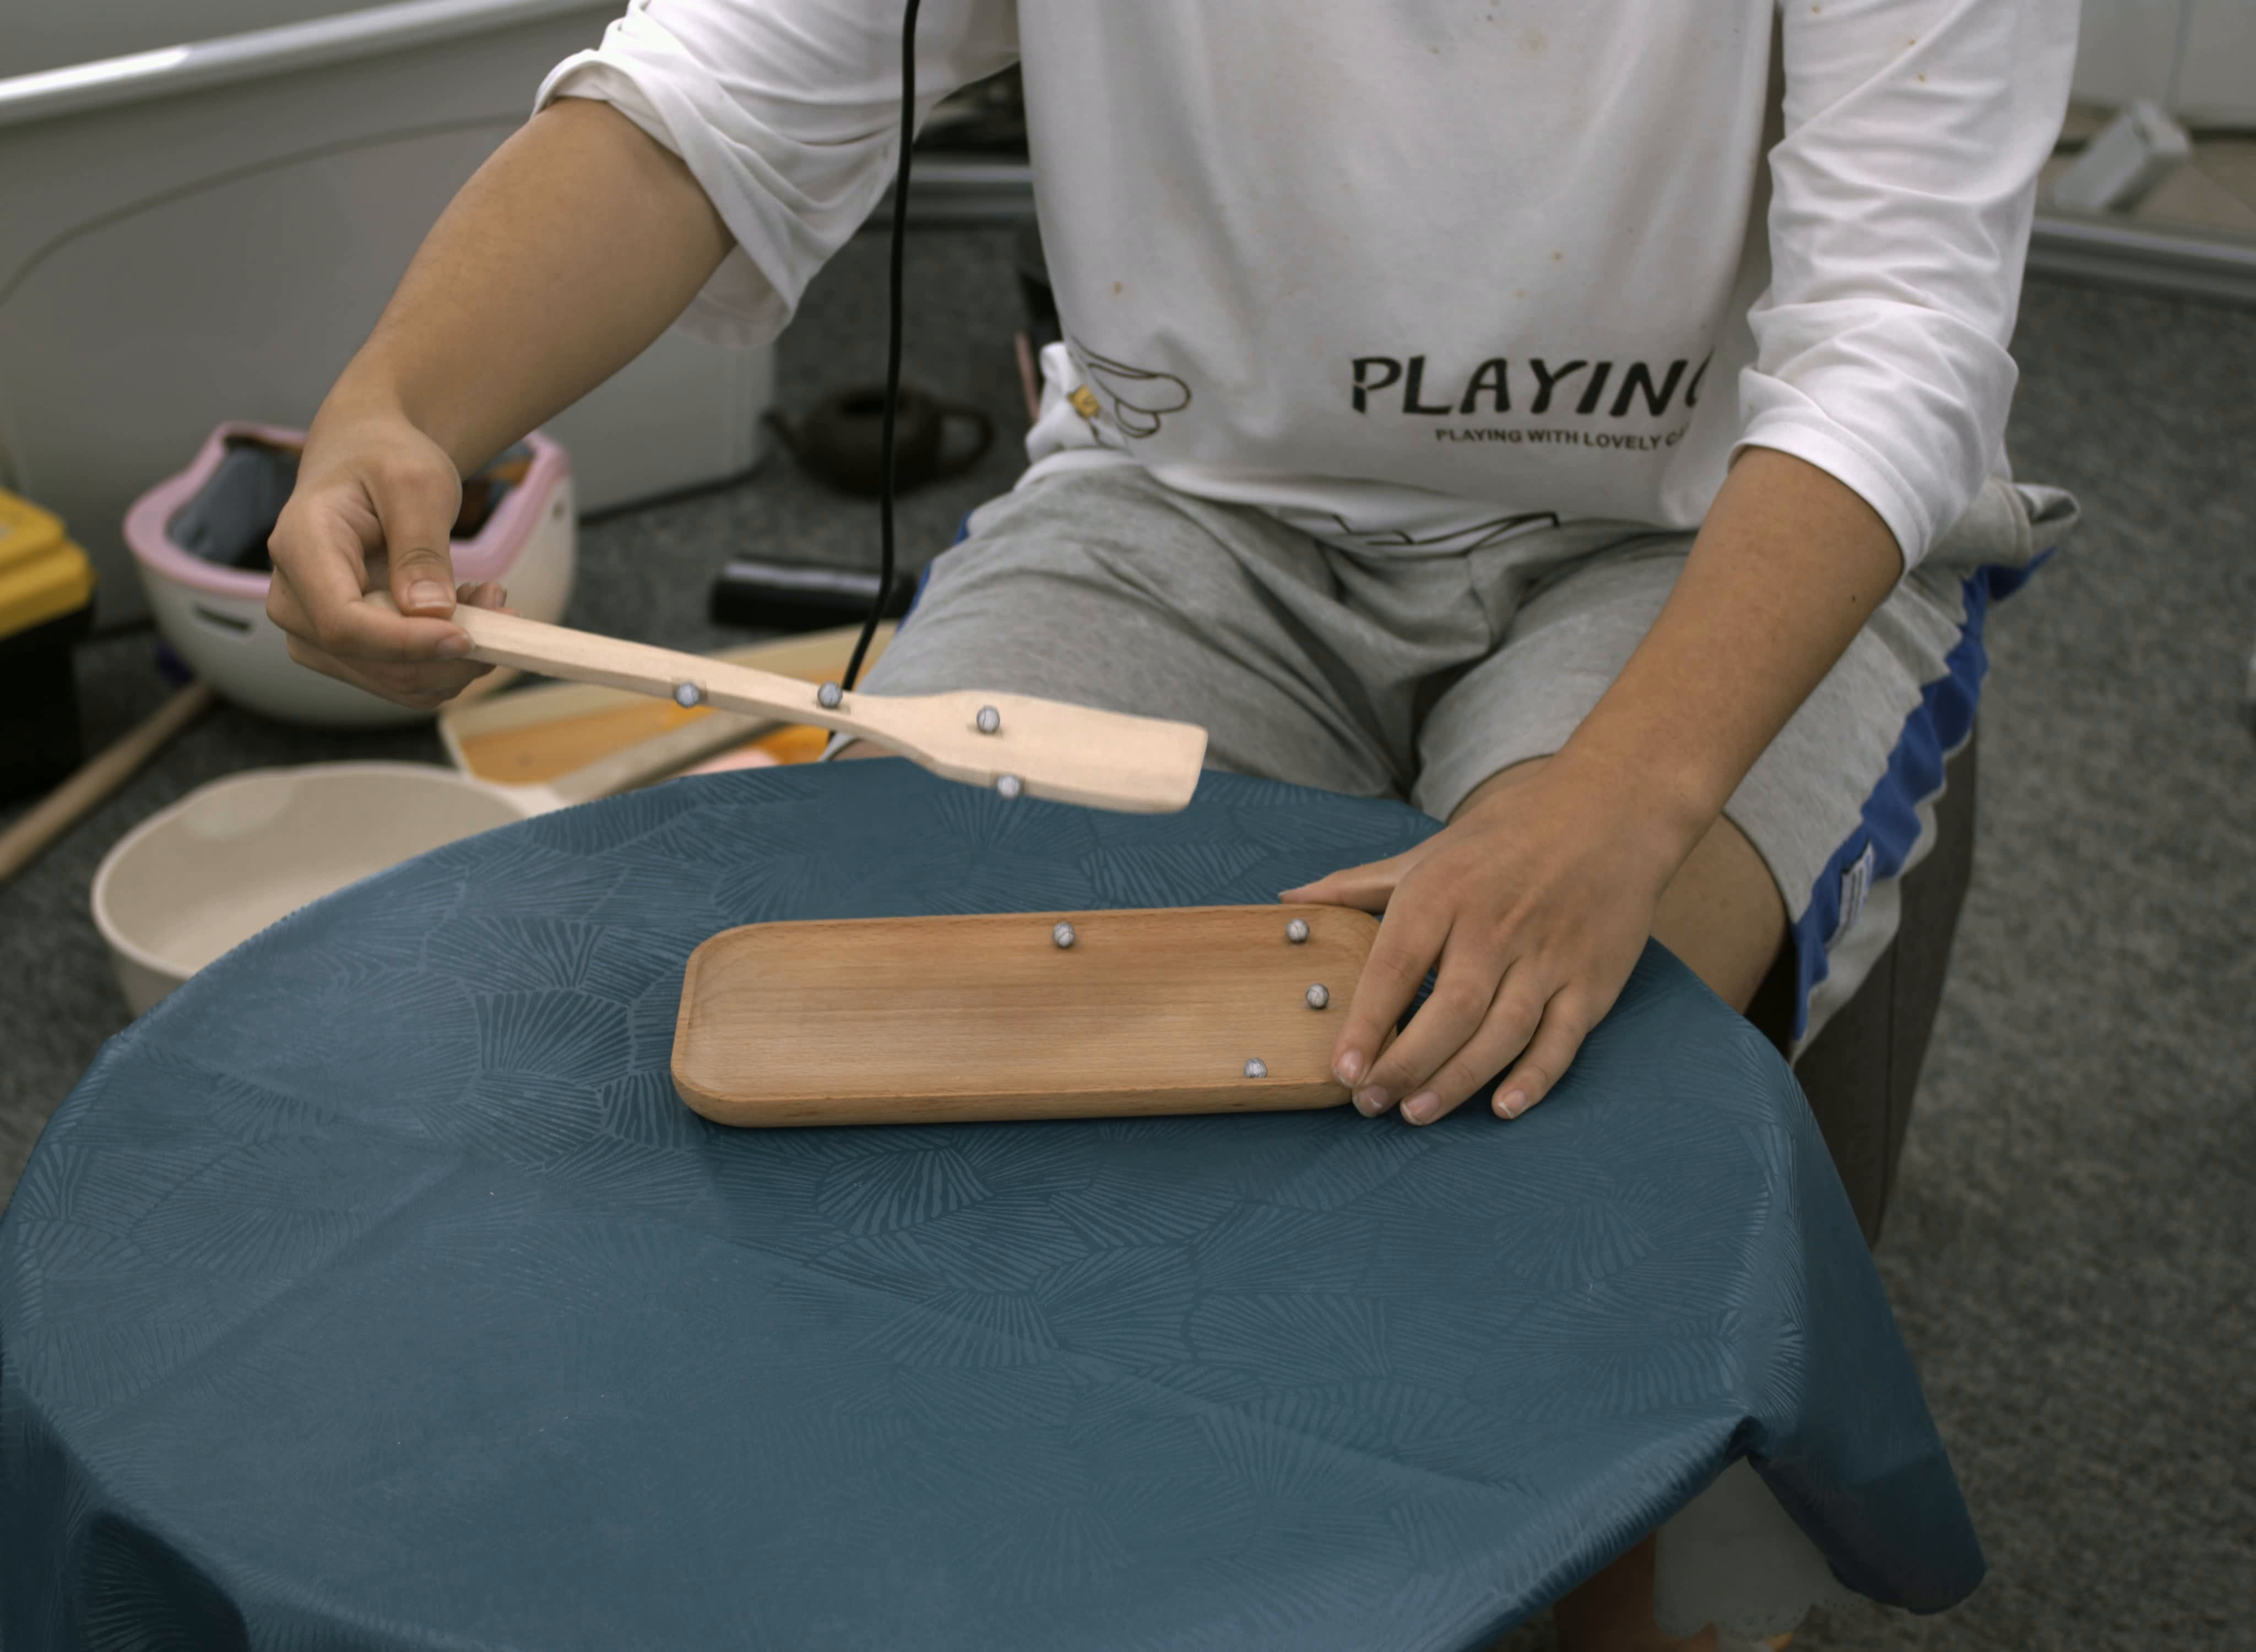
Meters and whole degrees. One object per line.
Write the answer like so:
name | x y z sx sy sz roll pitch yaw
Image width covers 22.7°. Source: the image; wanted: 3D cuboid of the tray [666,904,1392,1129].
tray | -0.033 0.067 1.958 0.249 0.022 0.132 -2 25 2

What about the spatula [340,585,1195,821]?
spatula | -0.123 -0.043 1.893 0.292 0.010 0.073 12 25 1
